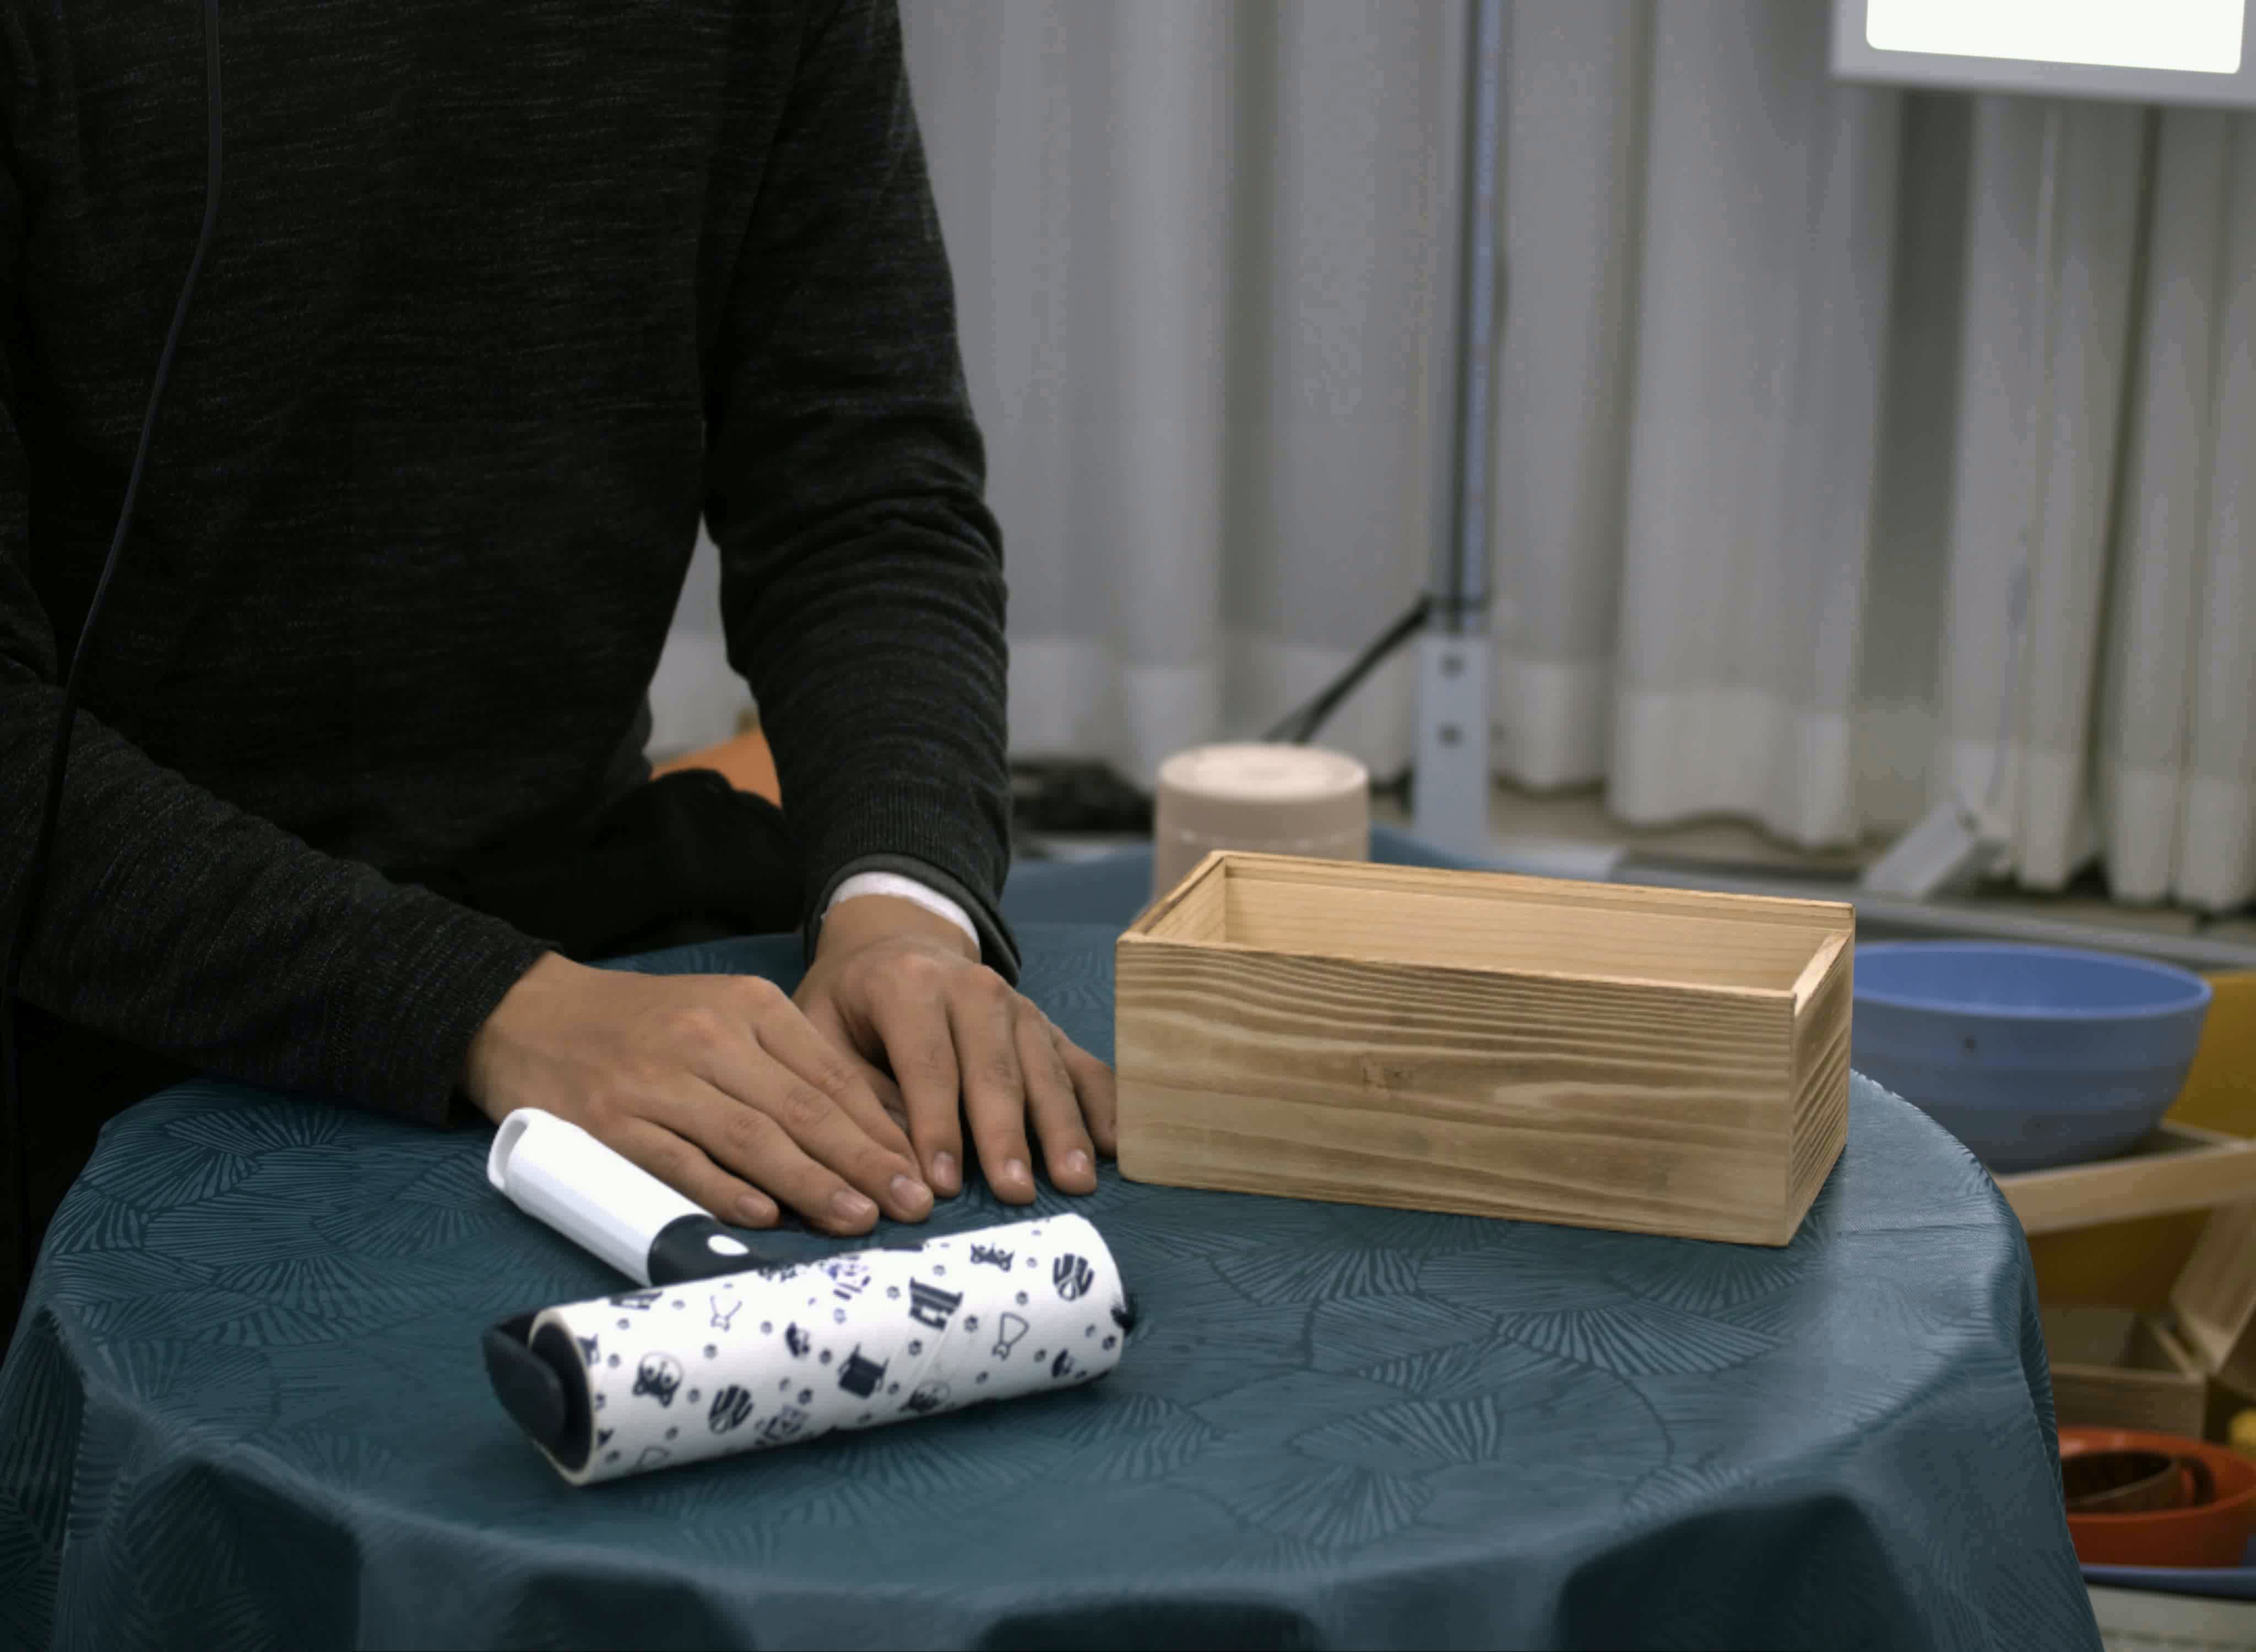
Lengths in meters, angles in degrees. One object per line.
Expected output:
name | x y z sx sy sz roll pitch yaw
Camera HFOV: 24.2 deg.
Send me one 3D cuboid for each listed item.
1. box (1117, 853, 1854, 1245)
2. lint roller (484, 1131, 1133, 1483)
box | 0.112 0.067 1.638 0.209 0.081 0.107 4 16 15
lint roller | -0.131 0.120 1.509 0.177 0.051 0.244 -9 17 -29
